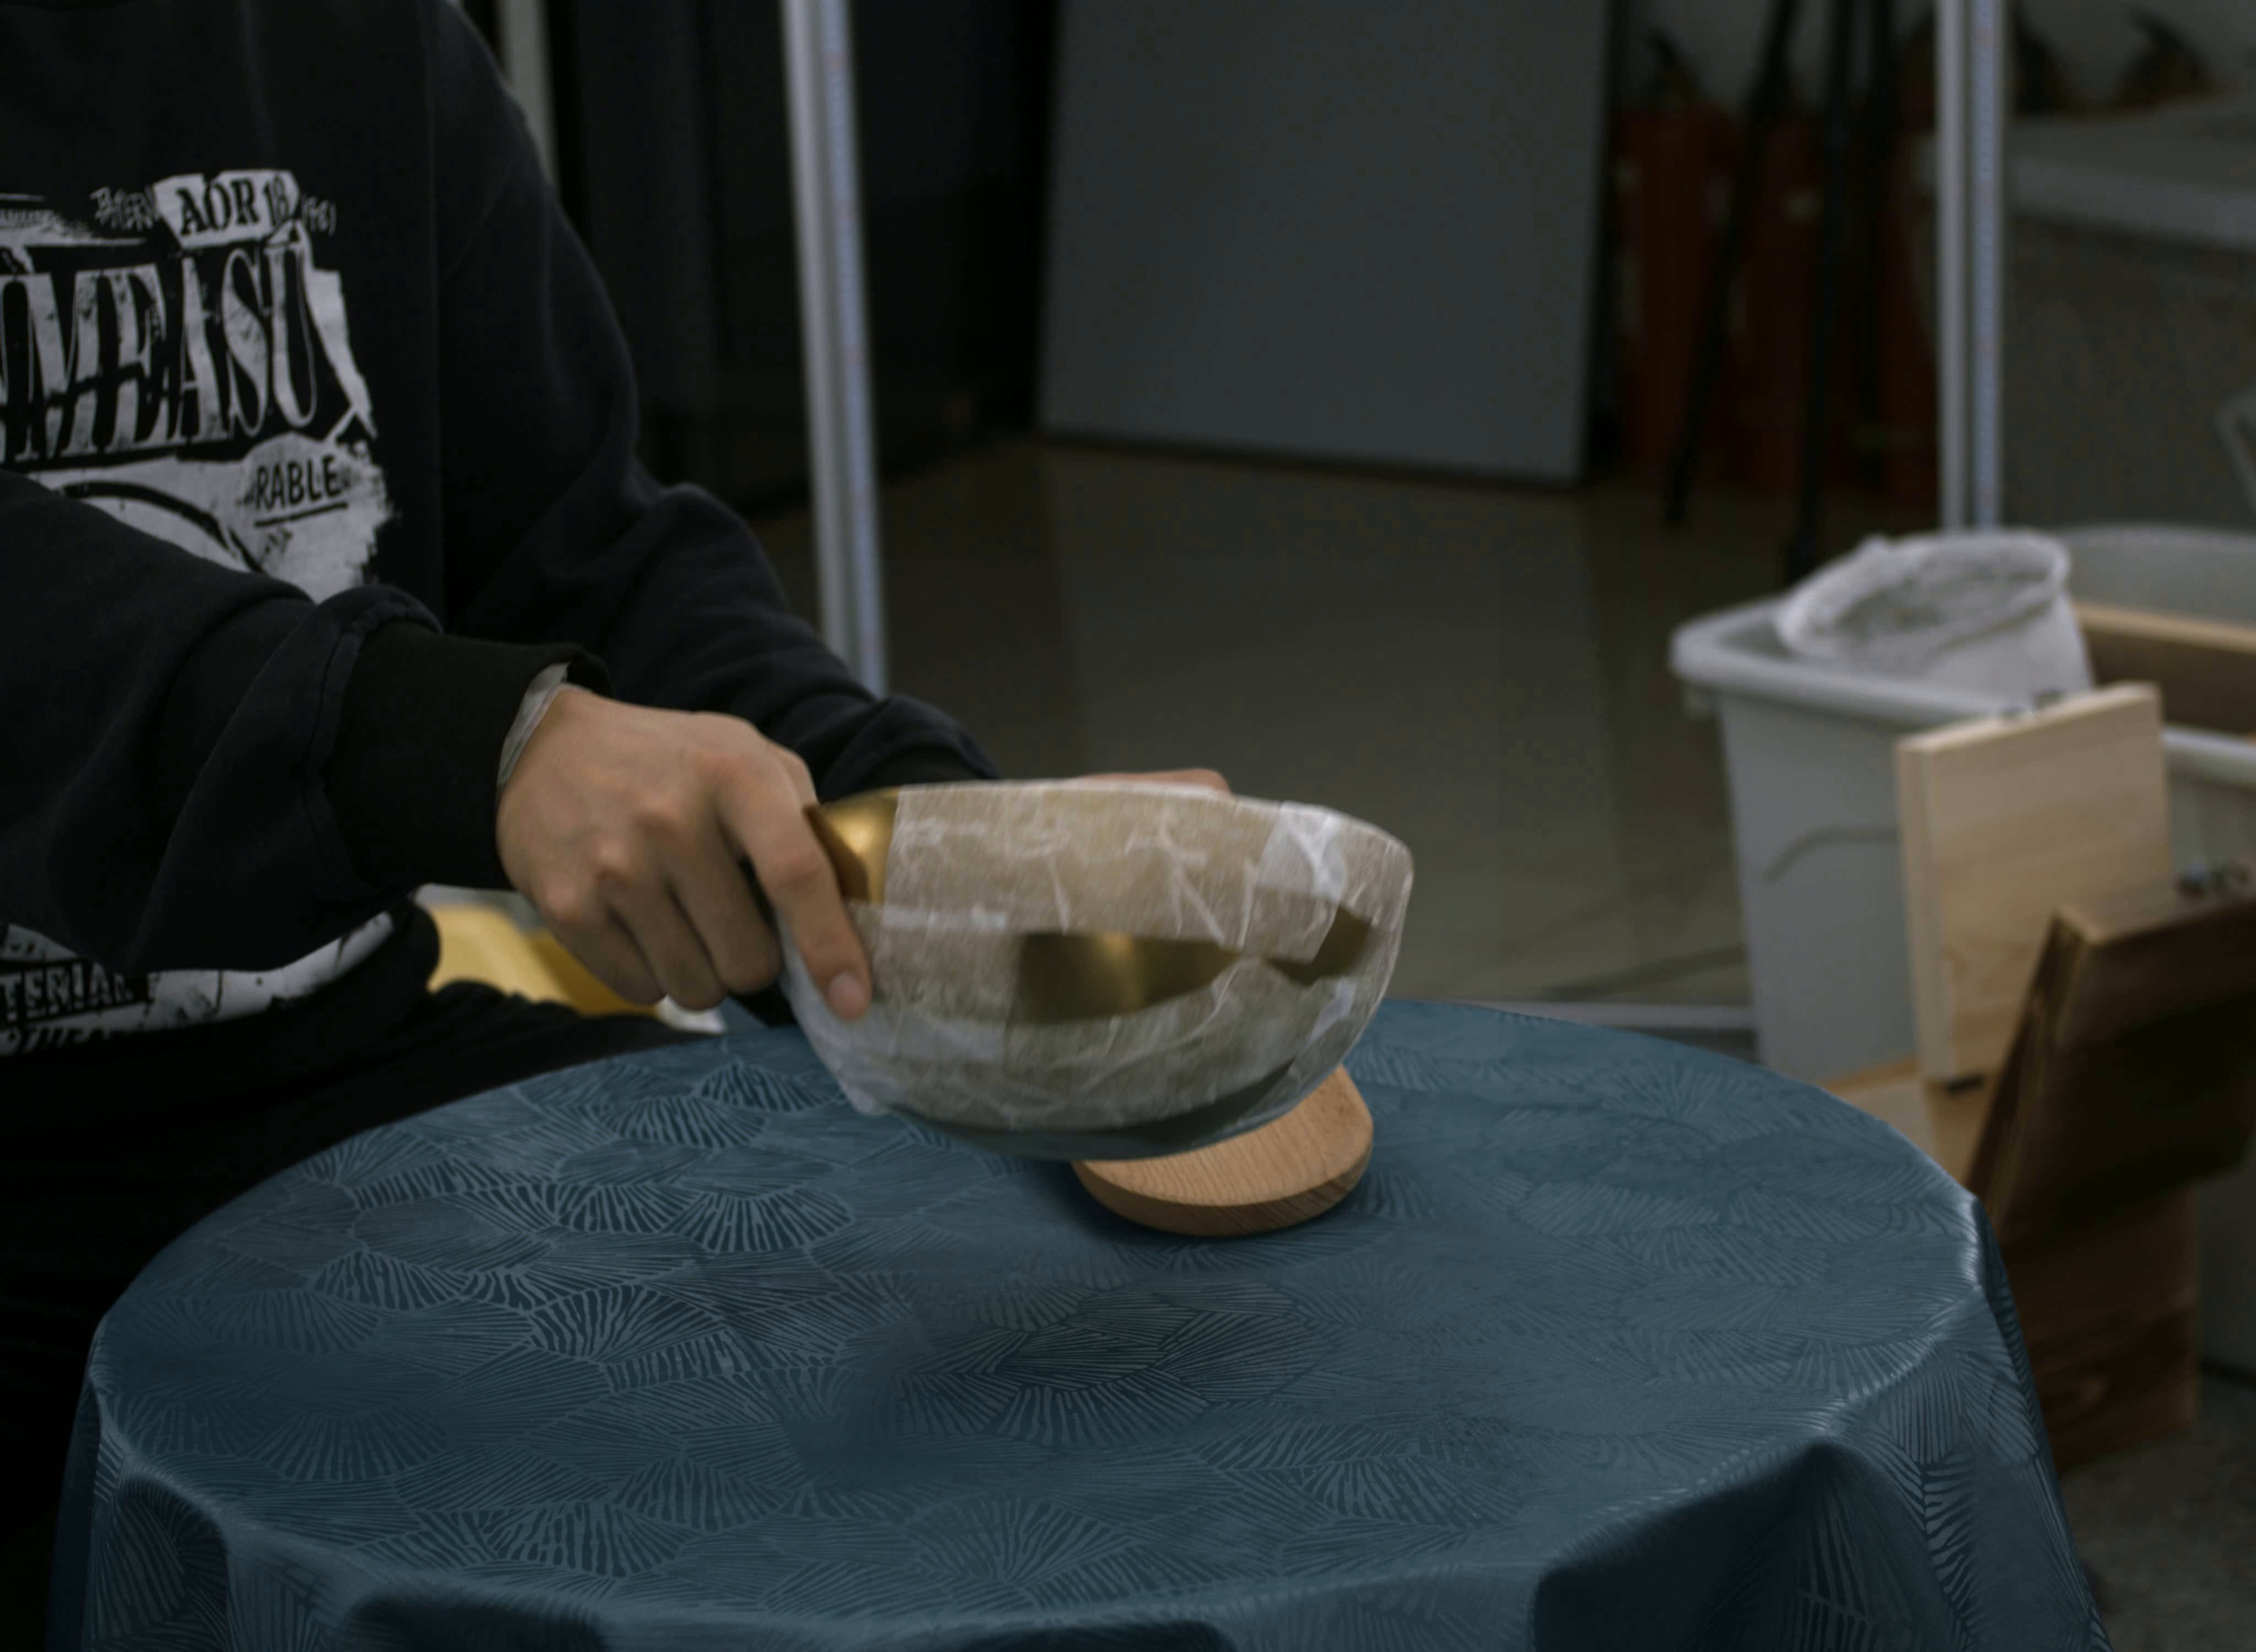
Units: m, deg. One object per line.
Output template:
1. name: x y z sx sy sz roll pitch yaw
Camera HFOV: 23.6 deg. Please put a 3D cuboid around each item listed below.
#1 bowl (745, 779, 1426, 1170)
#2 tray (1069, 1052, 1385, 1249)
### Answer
1. bowl: -0.014 0.052 1.607 0.212 0.096 0.215 2 -12 -1
2. tray: 0.016 0.077 1.811 0.100 0.020 0.233 -11 30 -11
